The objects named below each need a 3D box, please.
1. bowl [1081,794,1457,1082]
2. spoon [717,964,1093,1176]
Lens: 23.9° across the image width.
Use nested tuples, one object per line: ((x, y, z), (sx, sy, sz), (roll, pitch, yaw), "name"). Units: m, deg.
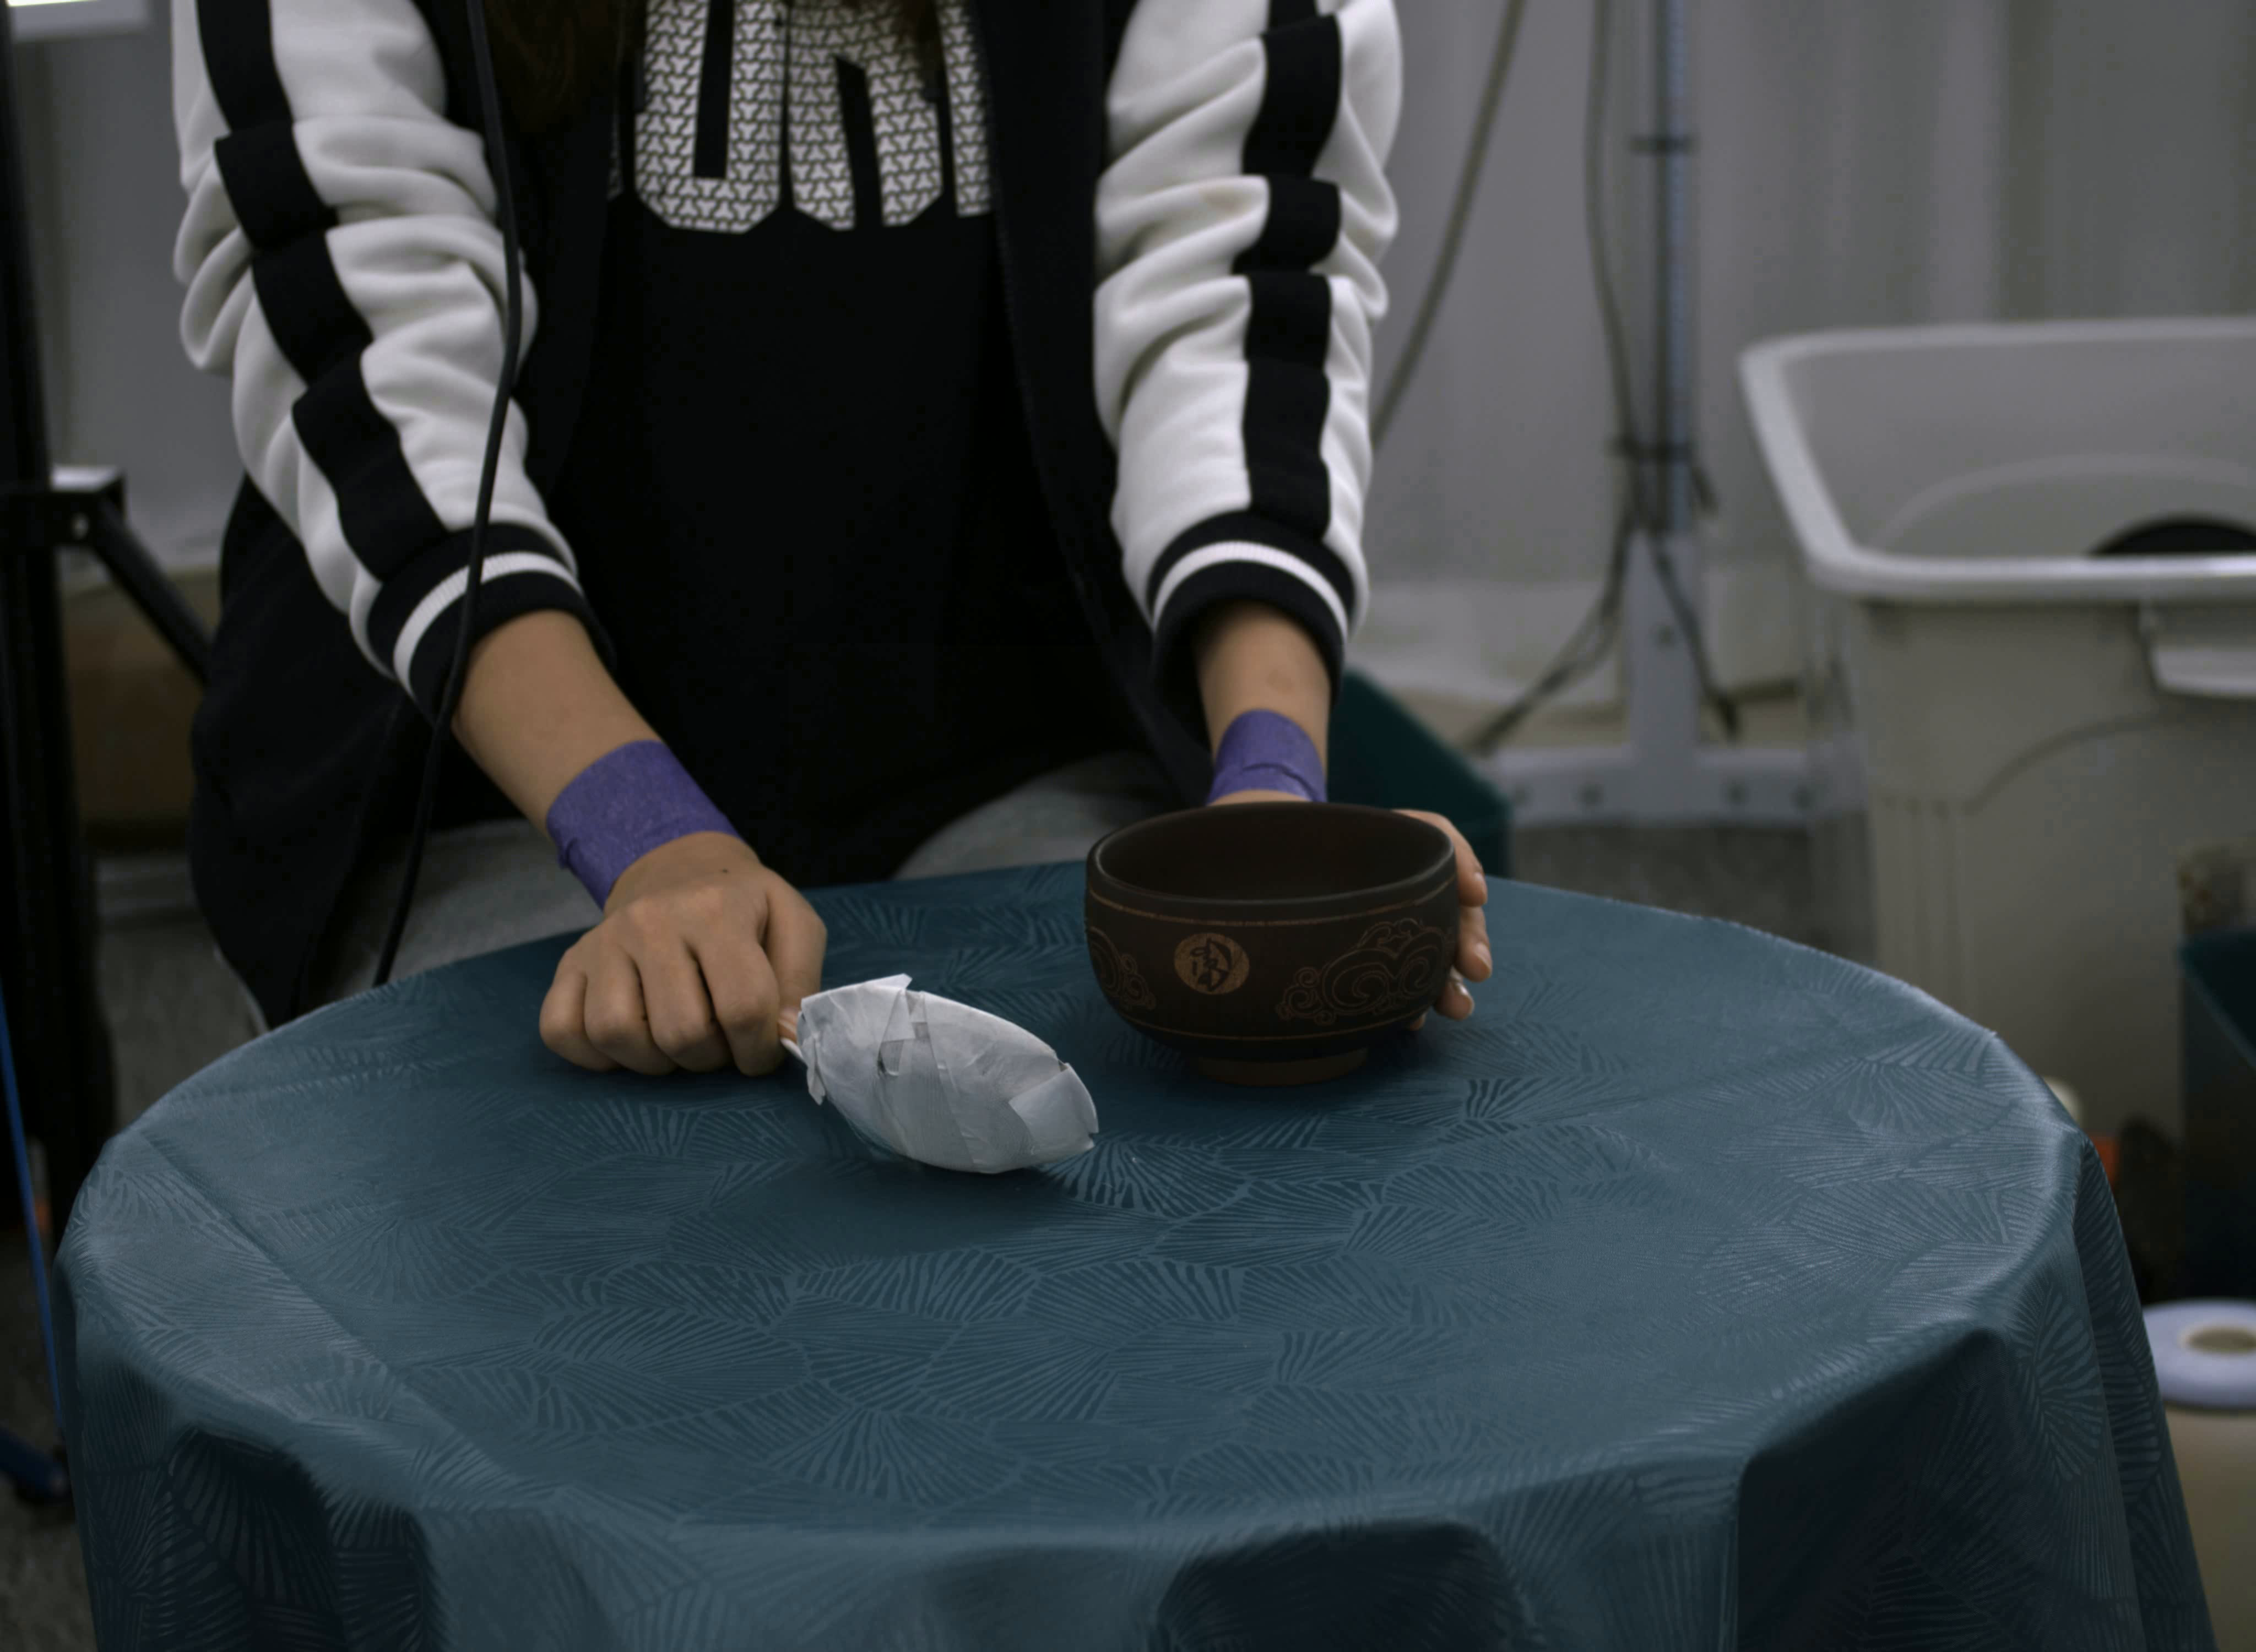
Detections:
((0.045, 0.039, 1.661), (0.117, 0.070, 0.118), (-2, 16, -1), "bowl")
((-0.077, 0.058, 1.651), (0.099, 0.059, 0.281), (39, -1, -18), "spoon")
